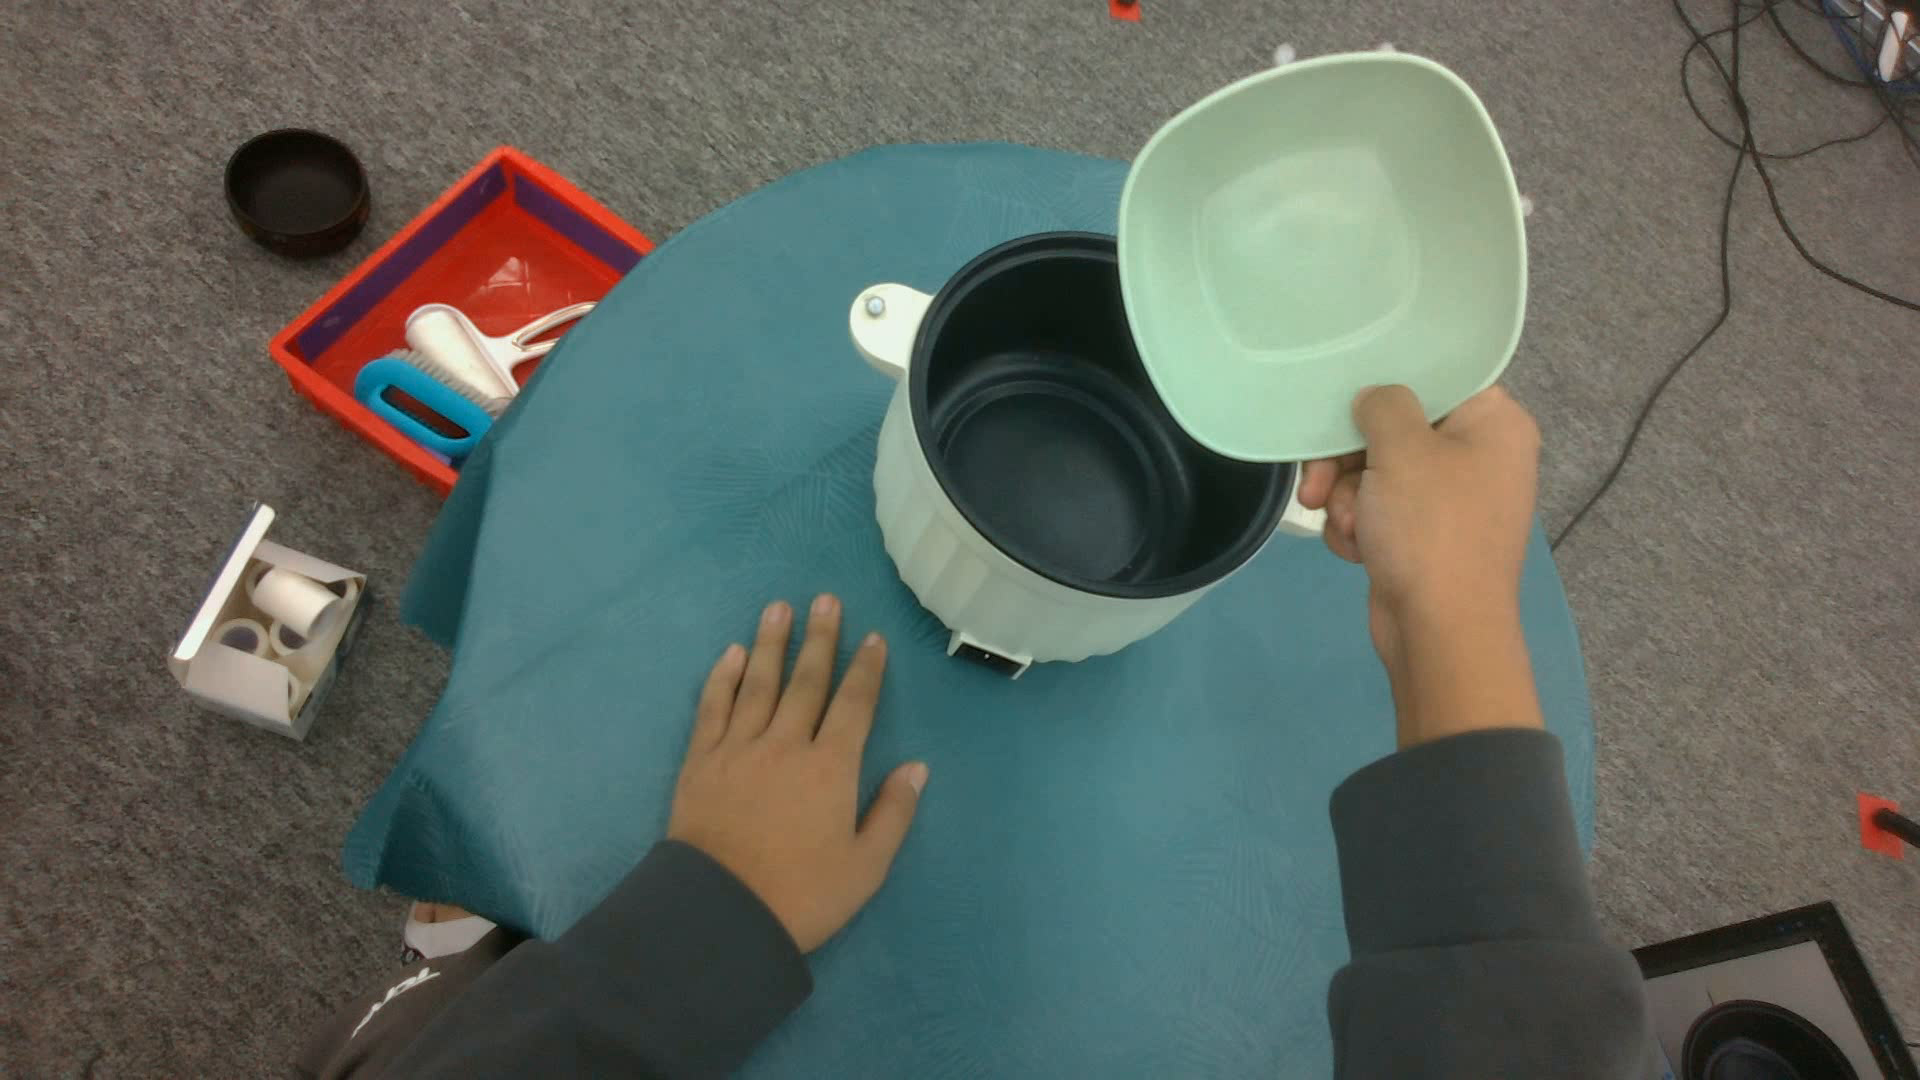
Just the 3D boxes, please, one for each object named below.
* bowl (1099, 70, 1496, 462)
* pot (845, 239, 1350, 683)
[{"bbox_3d":[0.130,-0.108,0.538,0.151,0.151,0.059,31,24,1],"label":"bowl"},{"bbox_3d":[0.051,-0.038,0.676,0.240,0.142,0.191,17,66,-8],"label":"pot"}]
